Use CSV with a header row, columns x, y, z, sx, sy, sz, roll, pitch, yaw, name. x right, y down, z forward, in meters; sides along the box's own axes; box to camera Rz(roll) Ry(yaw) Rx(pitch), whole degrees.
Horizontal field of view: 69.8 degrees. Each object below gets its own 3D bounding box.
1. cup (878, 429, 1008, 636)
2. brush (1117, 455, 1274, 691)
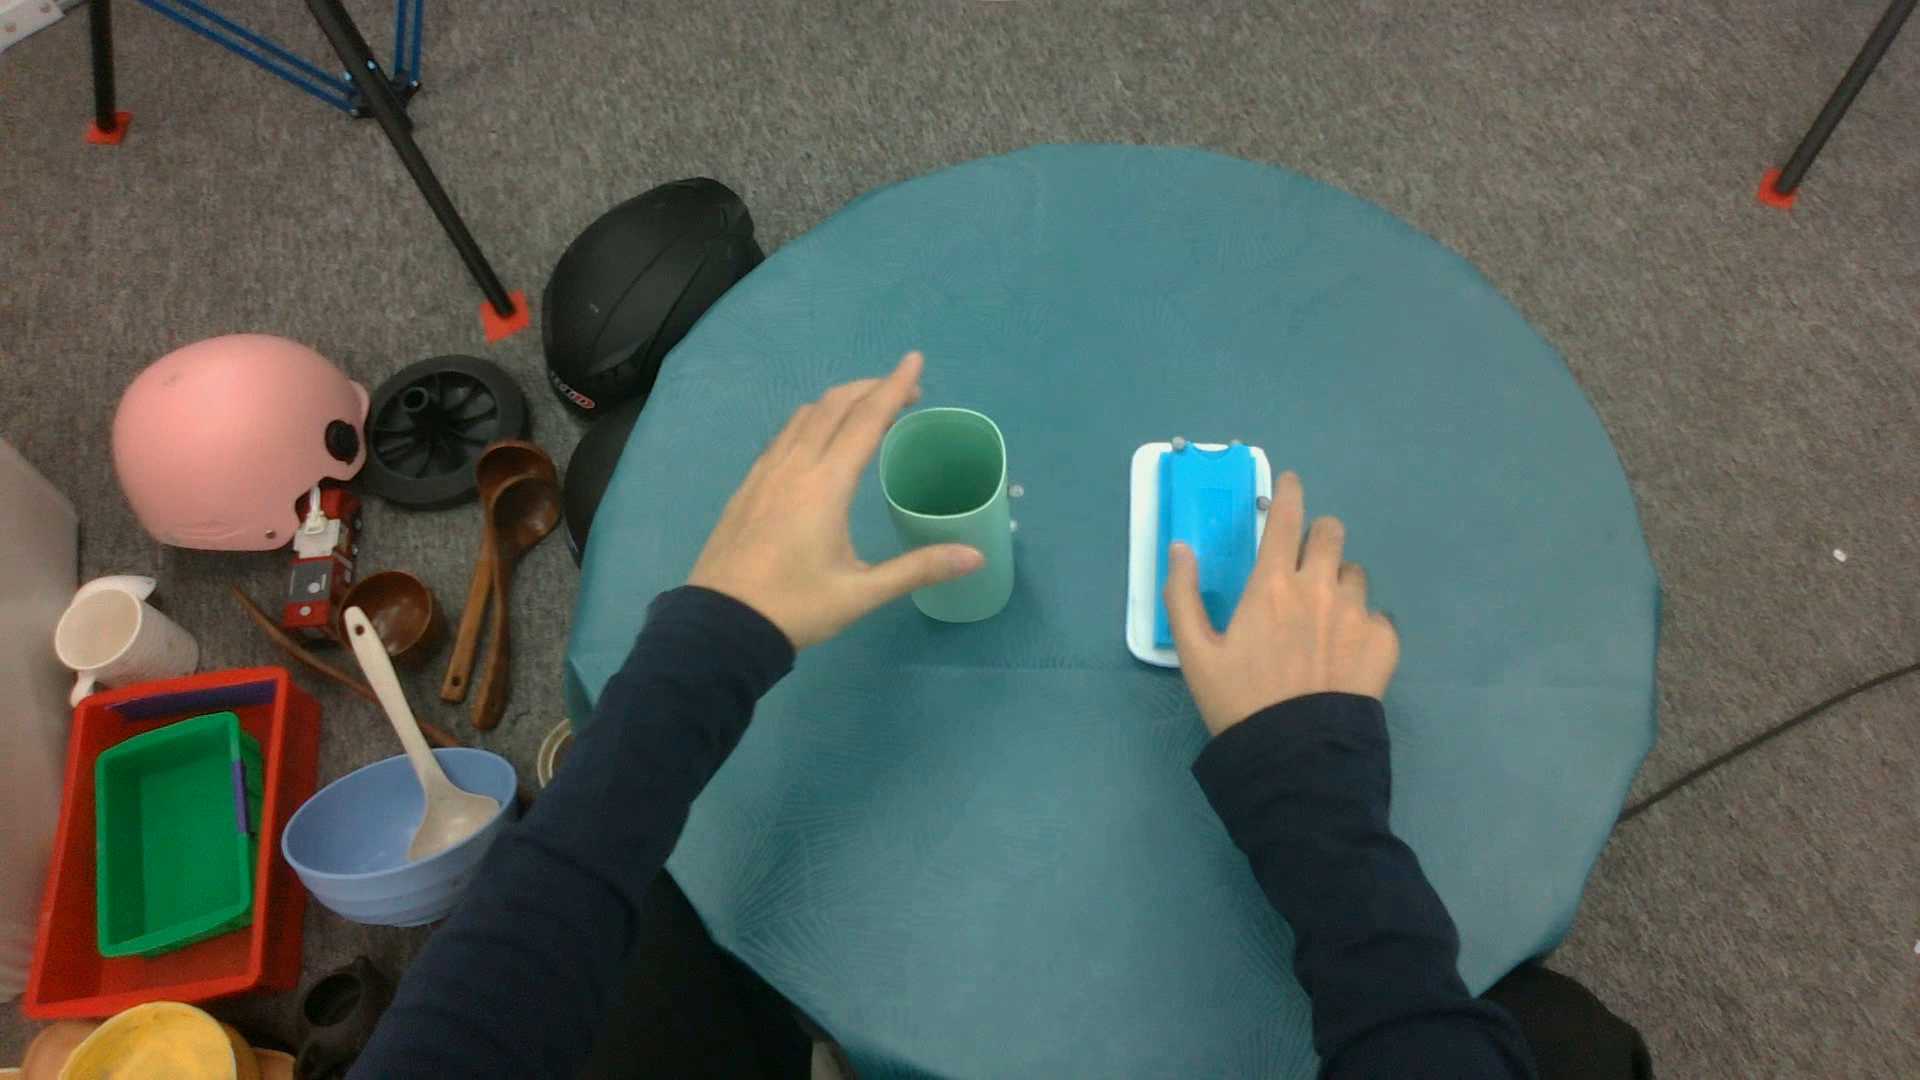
x,y,z,sx,sy,sz,roll,pitch,yaw,name
-0.006,0.001,0.746,0.067,0.132,0.067,-1,64,3,cup
0.133,0.011,0.764,0.084,0.056,0.144,4,61,9,brush
